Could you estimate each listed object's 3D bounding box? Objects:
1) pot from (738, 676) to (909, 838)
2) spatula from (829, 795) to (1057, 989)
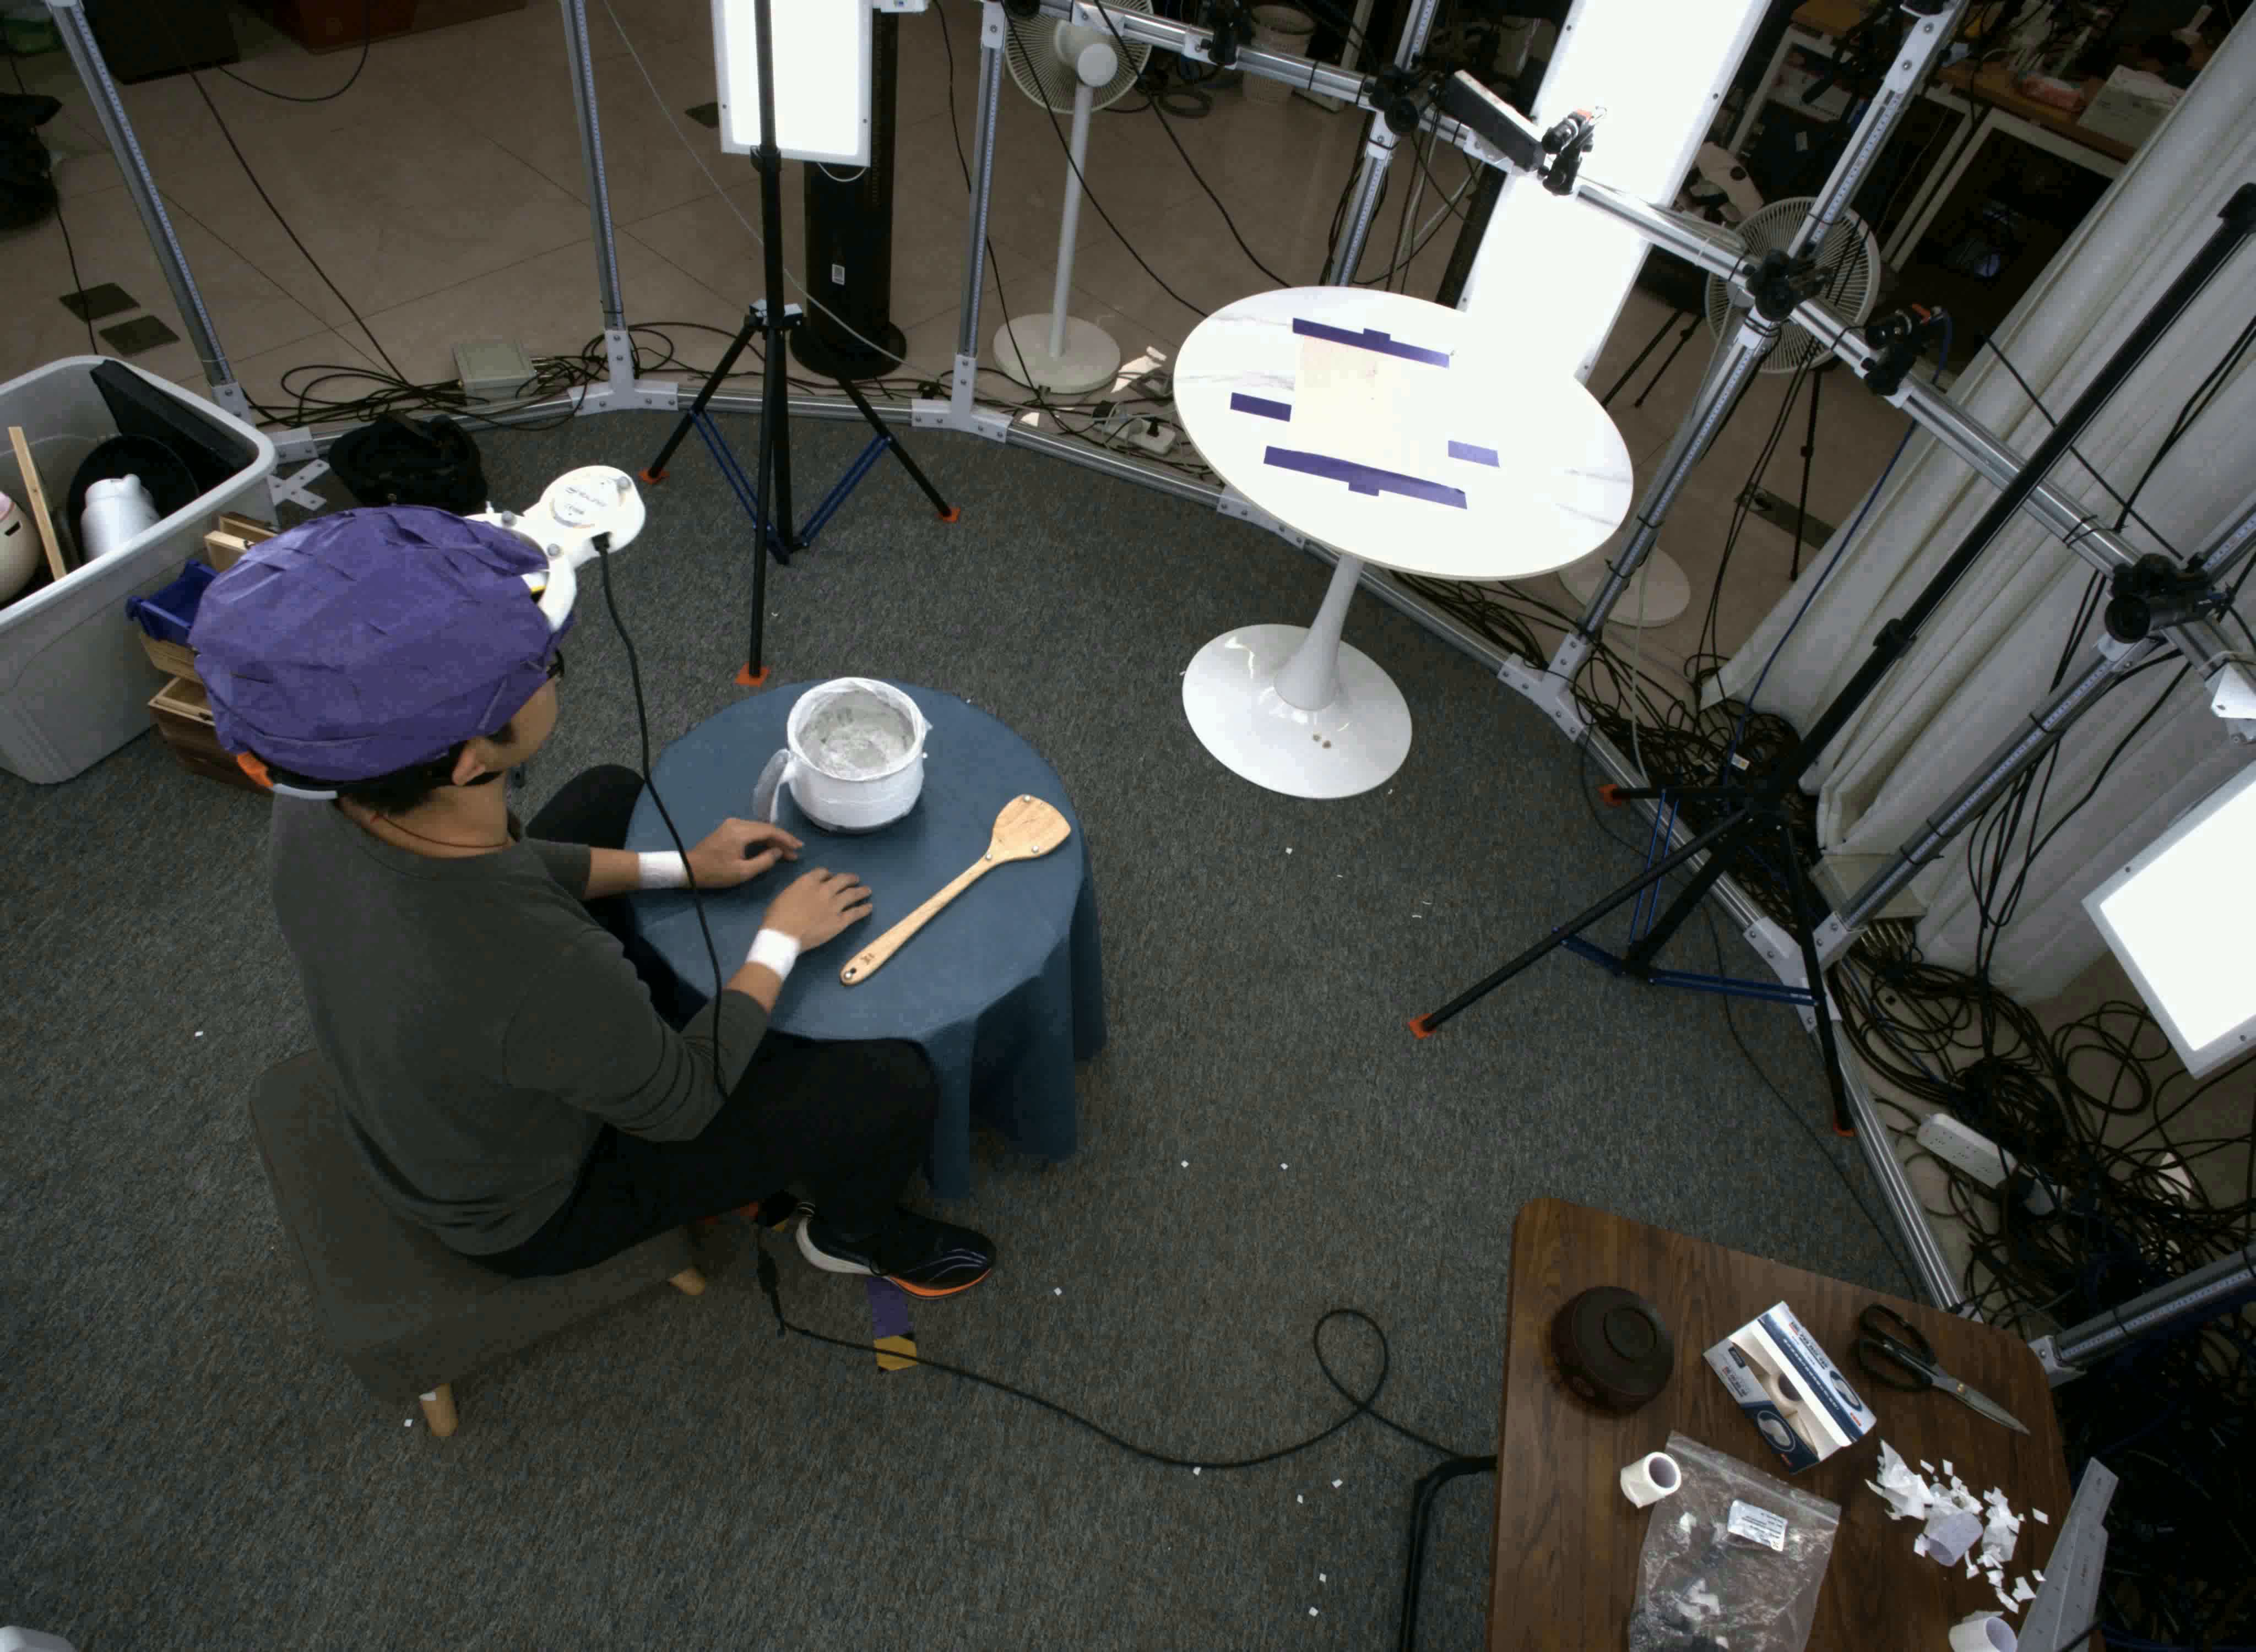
[{"bbox_3d":[-0.404,-0.078,1.710,0.235,0.139,0.174,-27,63,-29],"label":"pot"},{"bbox_3d":[-0.243,0.086,1.706,0.094,0.019,0.391,36,53,15],"label":"spatula"}]
